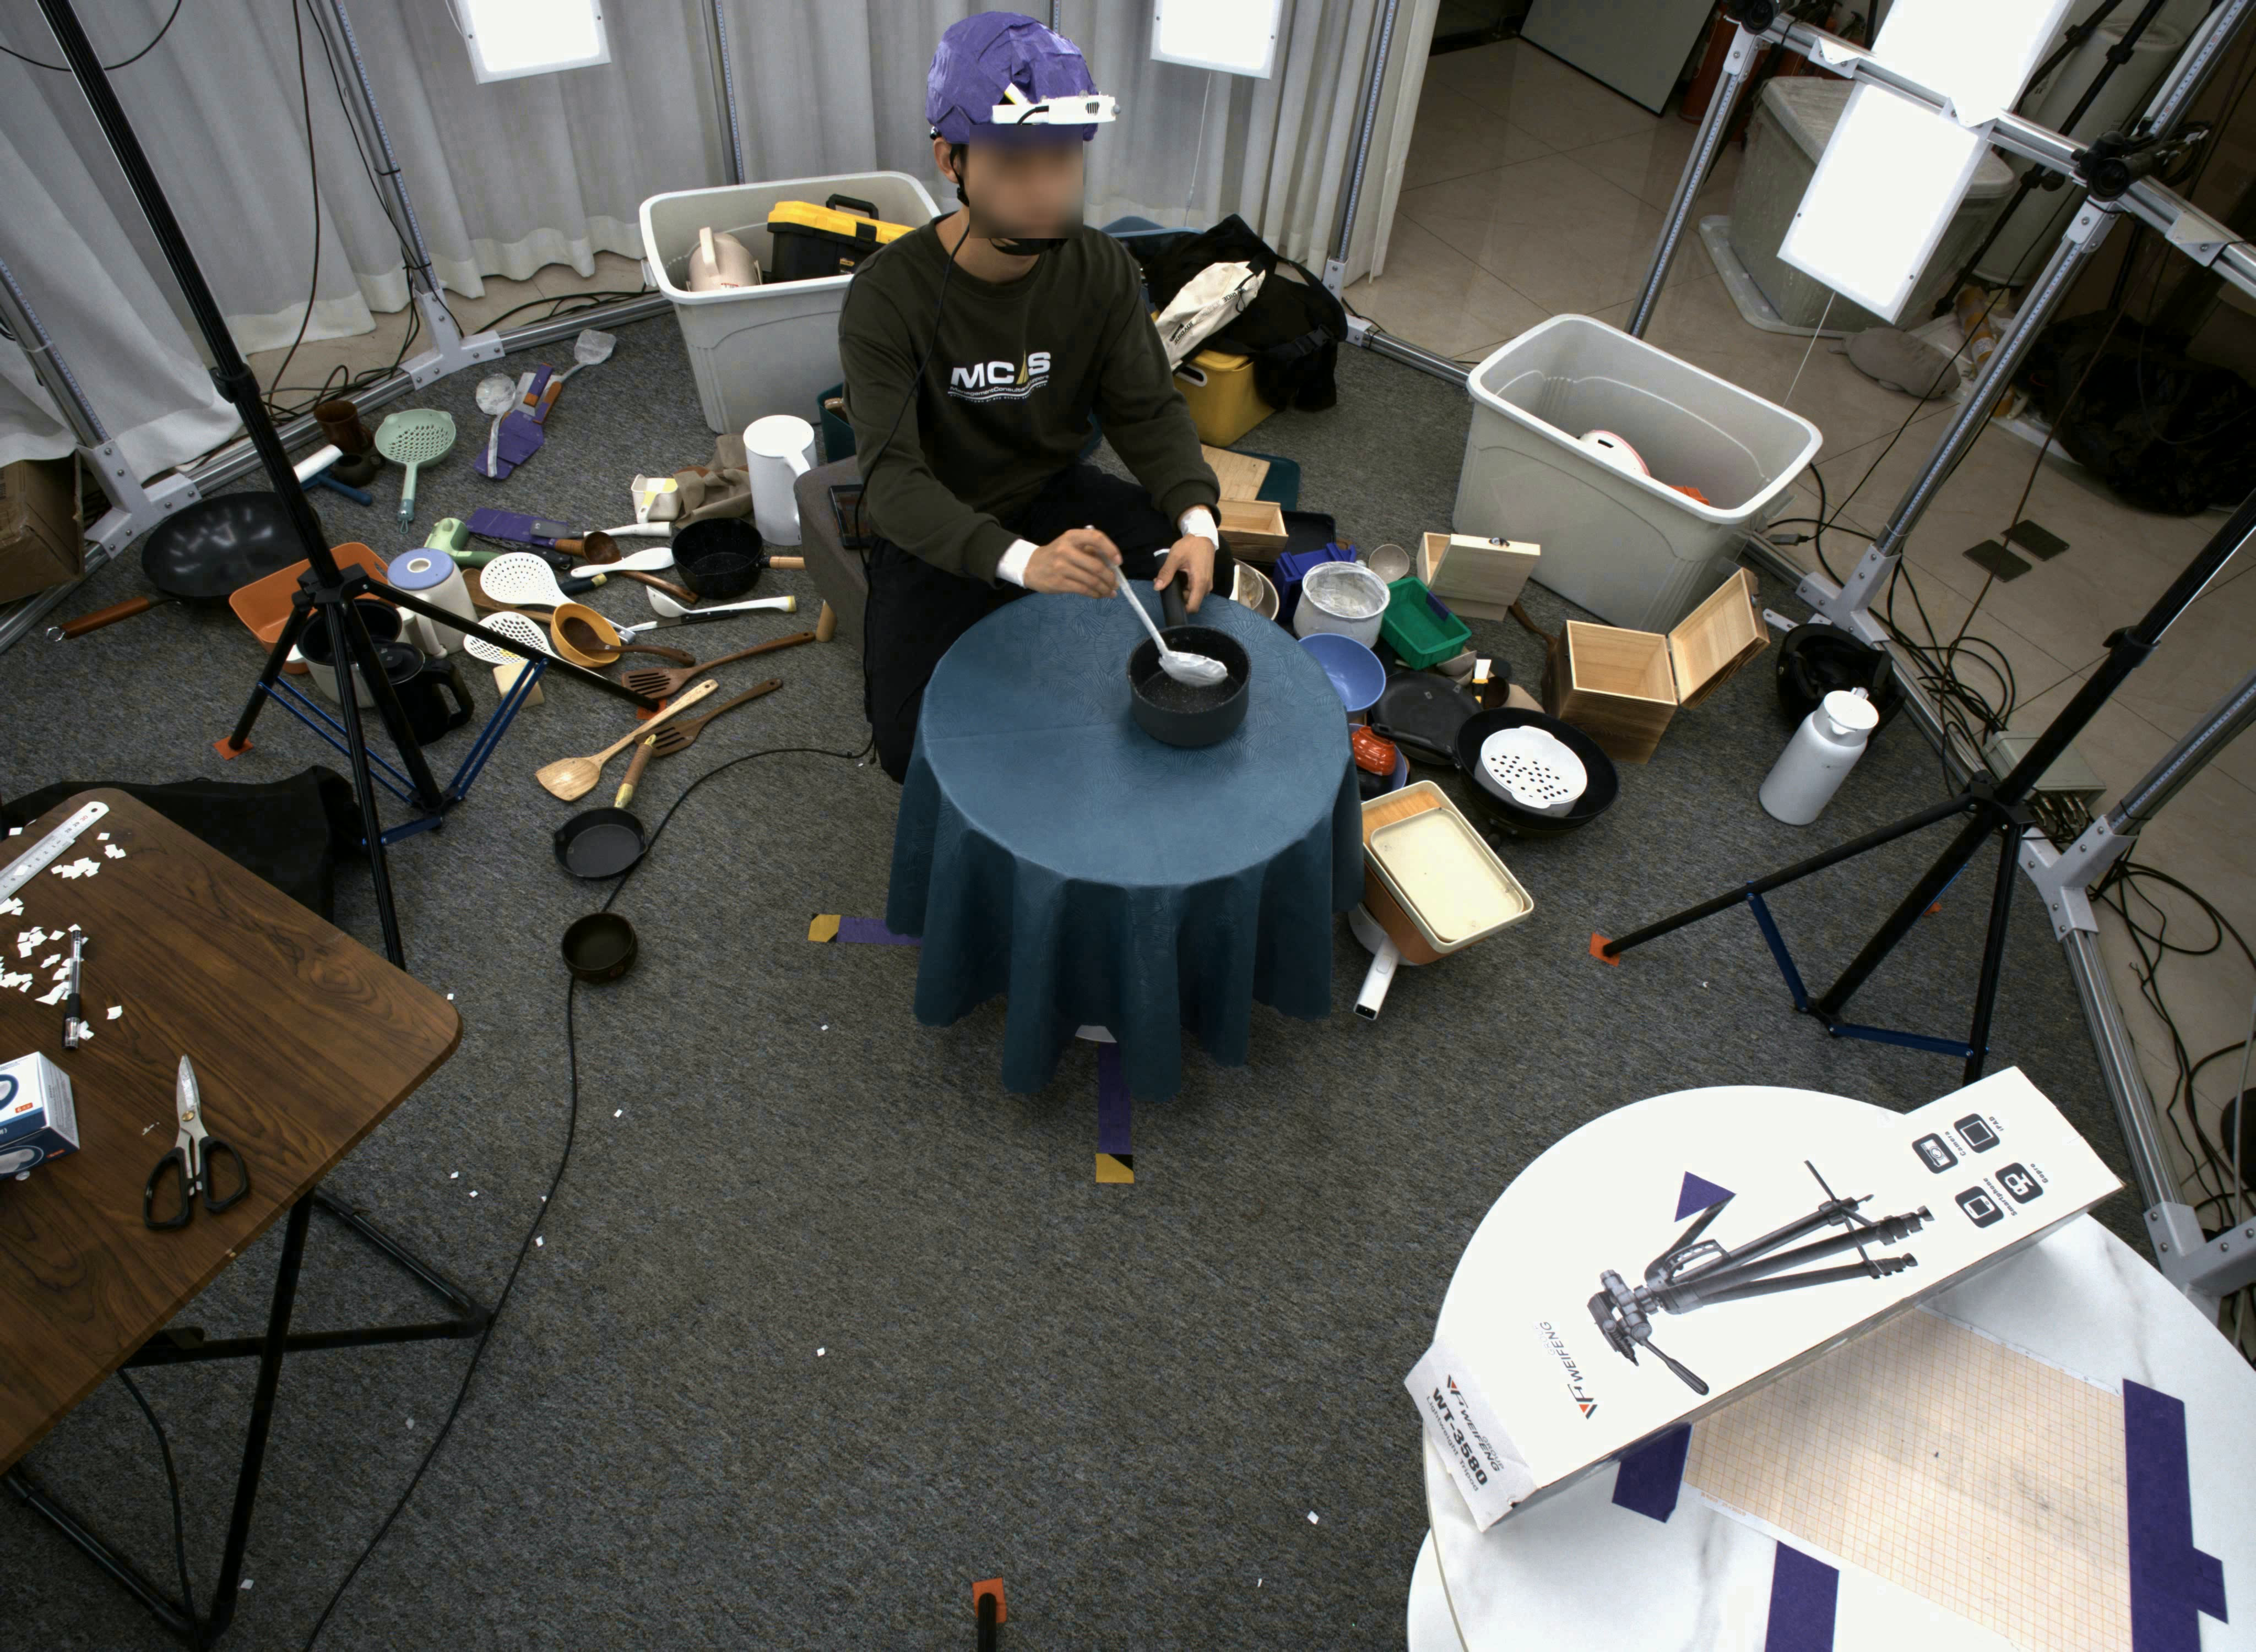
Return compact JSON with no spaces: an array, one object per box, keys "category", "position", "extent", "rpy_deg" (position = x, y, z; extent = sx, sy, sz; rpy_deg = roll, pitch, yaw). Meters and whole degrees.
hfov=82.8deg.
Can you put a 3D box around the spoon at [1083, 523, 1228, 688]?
[{"category":"spoon","position":[0.032,-0.291,1.705],"extent":[0.060,0.100,0.275],"rpy_deg":[-42,105,-36]}]

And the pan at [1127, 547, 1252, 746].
[{"category":"pan","position":[0.080,-0.258,1.830],"extent":[0.172,0.084,0.337],"rpy_deg":[-5,51,0]}]
